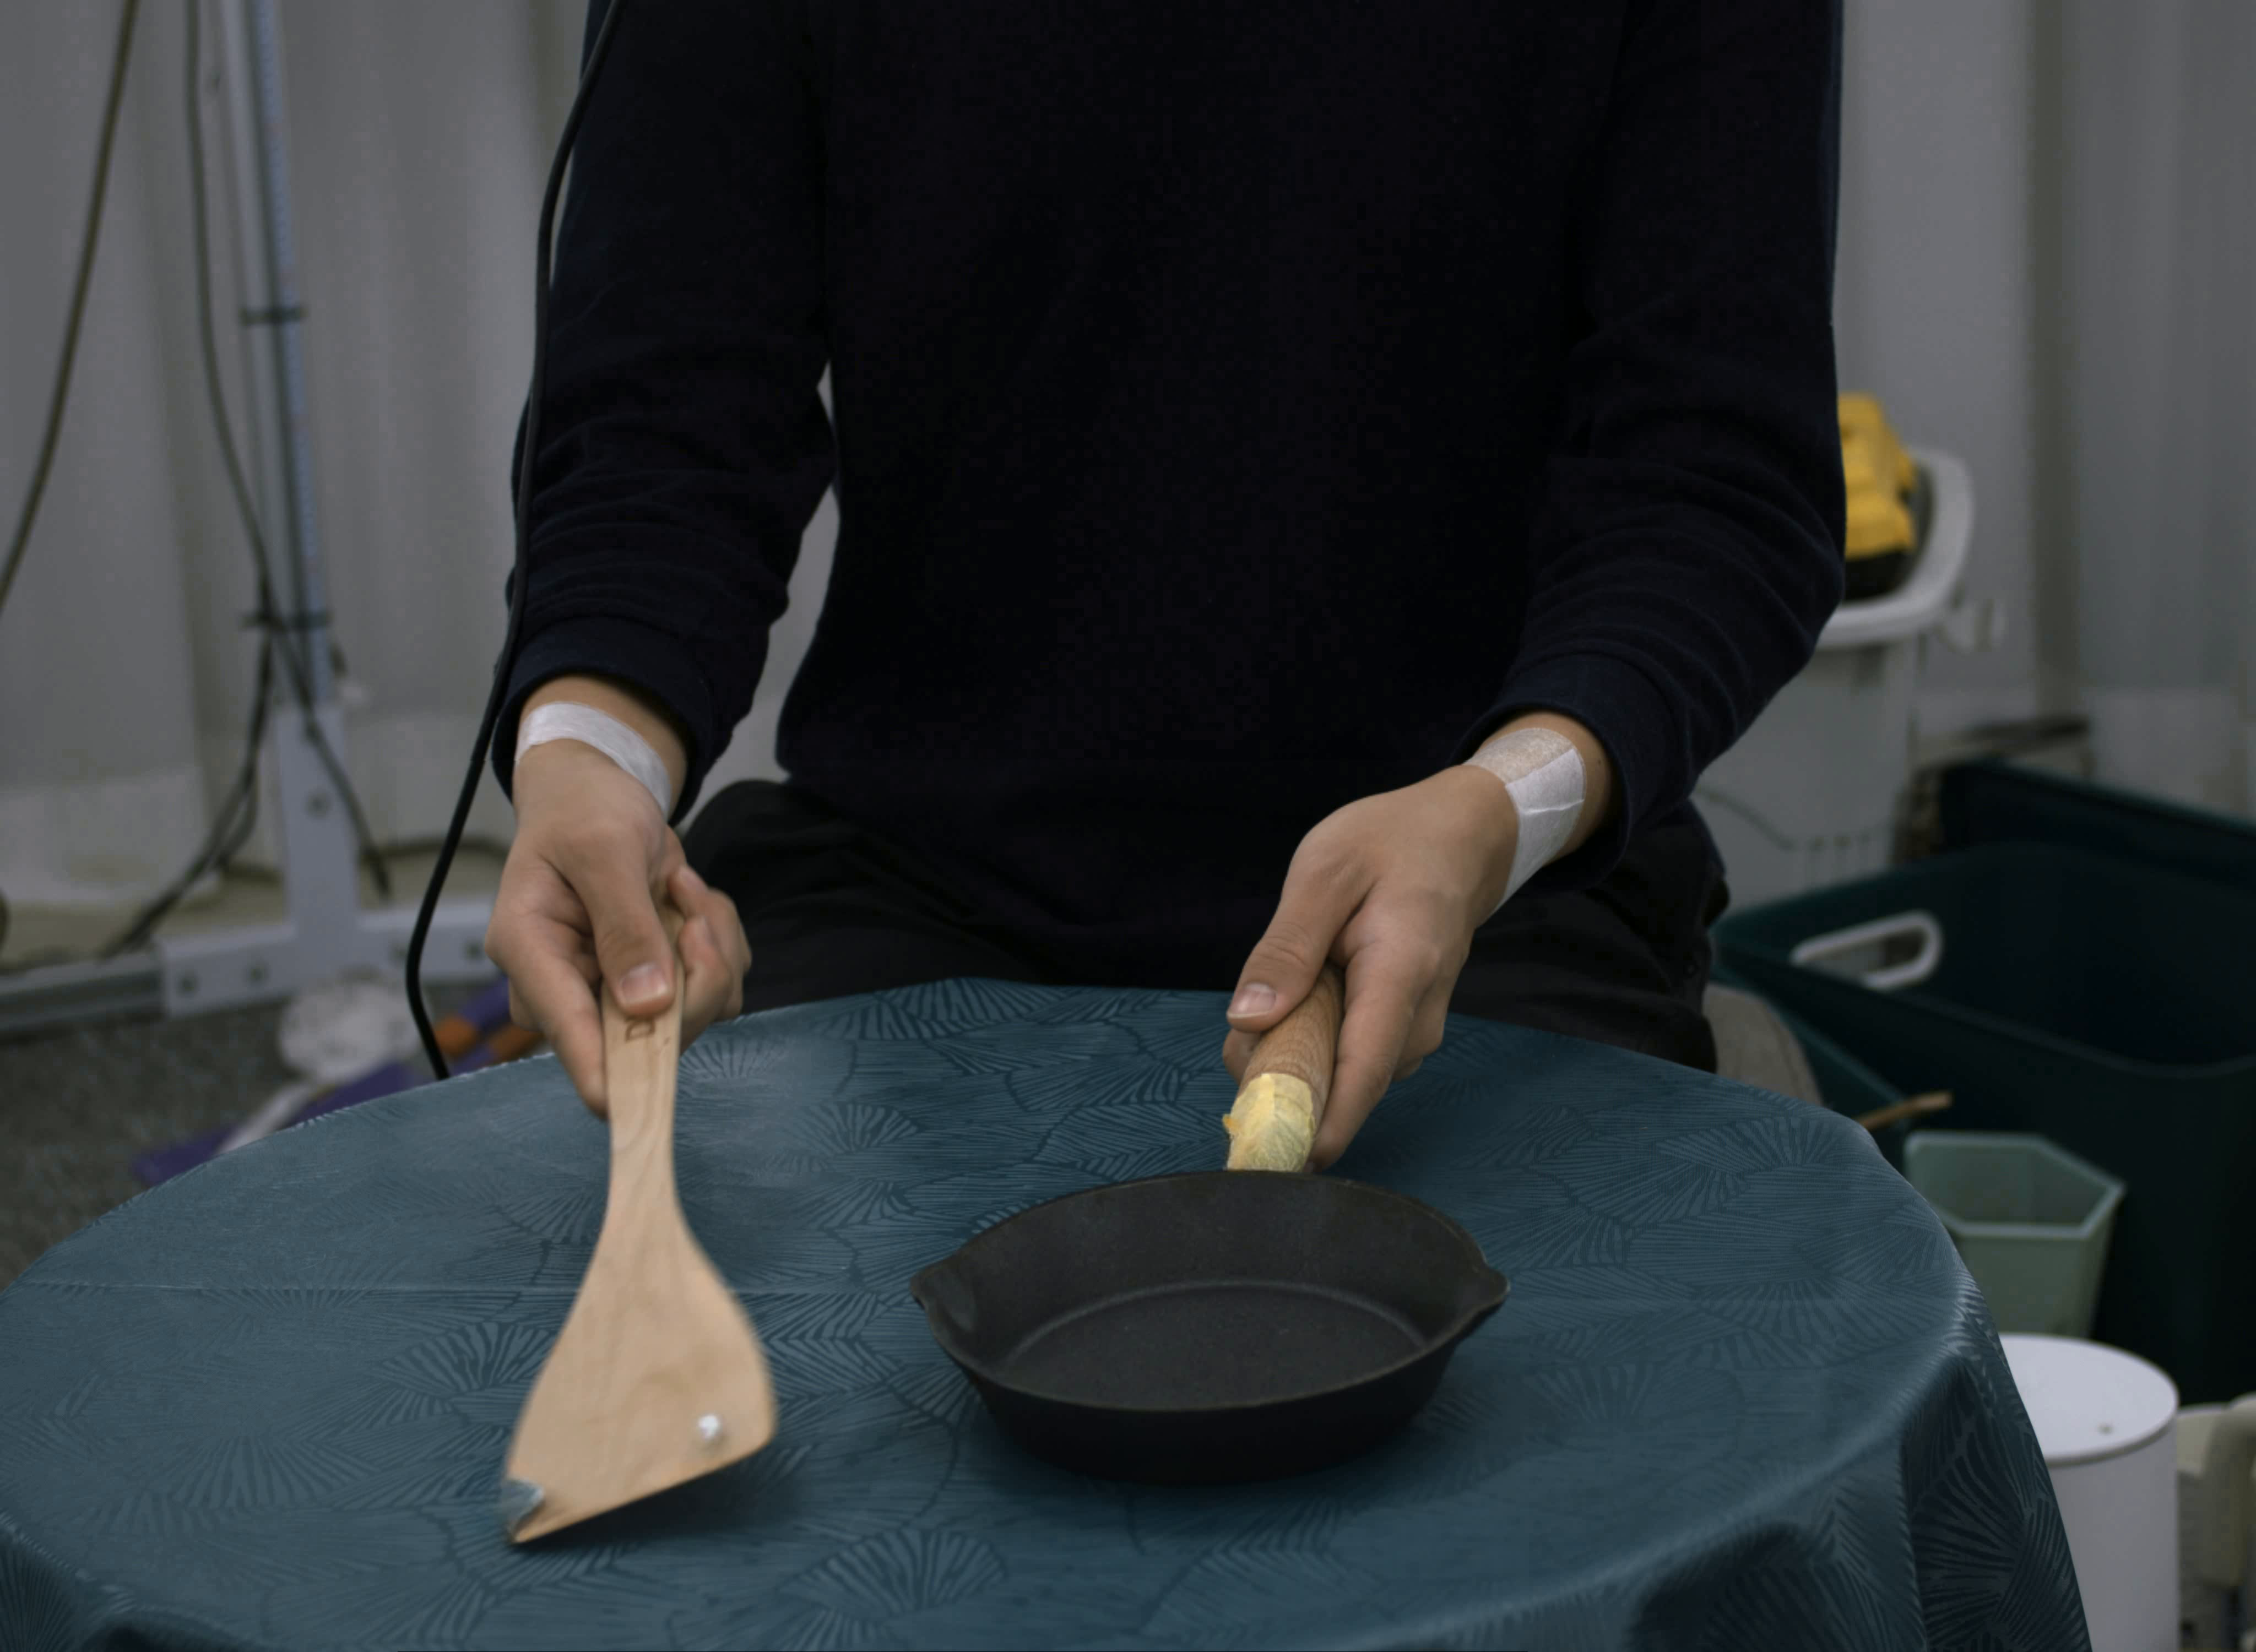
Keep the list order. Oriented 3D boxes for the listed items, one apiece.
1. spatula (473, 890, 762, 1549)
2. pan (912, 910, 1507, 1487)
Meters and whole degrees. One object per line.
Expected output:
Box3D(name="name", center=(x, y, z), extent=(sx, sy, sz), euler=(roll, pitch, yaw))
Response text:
Box3D(name="spatula", center=(-0.144, 0.105, 1.595), extent=(0.080, 0.016, 0.332), euler=(-11, 32, 3))
Box3D(name="pan", center=(0.040, 0.105, 1.602), extent=(0.169, 0.049, 0.326), euler=(0, 21, 13))
